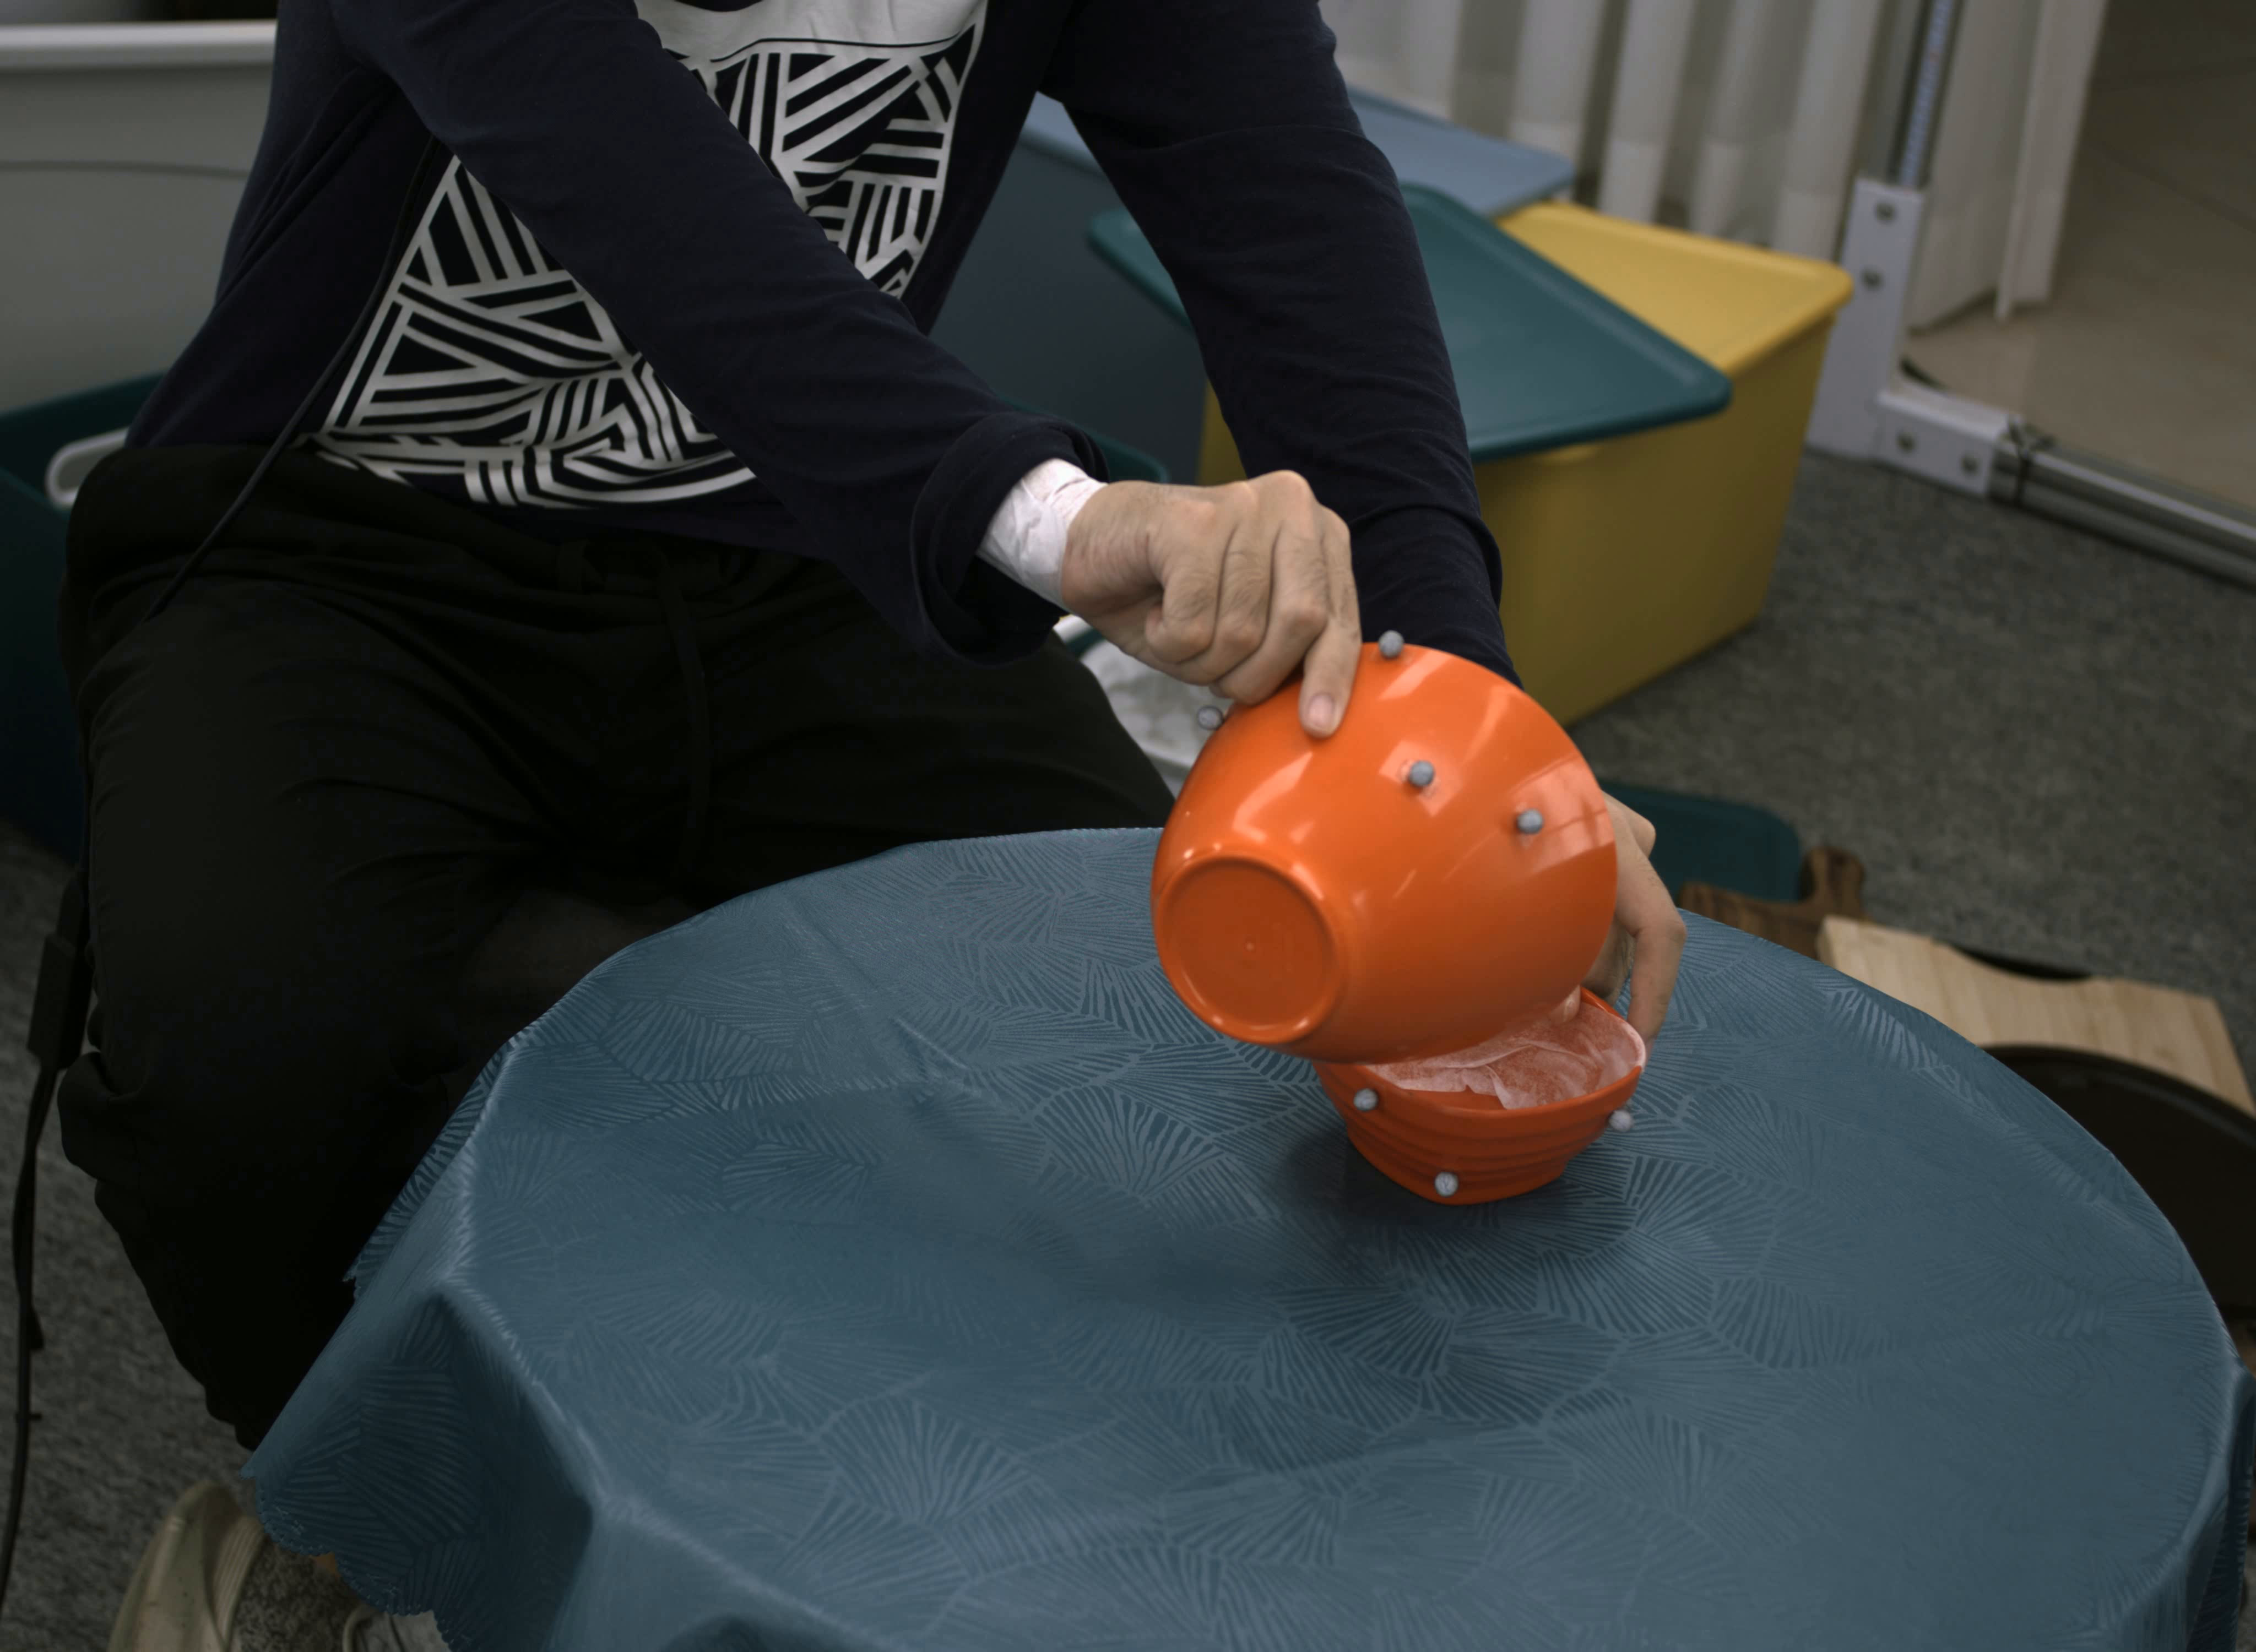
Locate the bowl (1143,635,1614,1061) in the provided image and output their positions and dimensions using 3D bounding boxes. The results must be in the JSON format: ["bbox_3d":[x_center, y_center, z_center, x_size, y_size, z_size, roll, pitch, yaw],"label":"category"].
[{"bbox_3d":[0.069,0.021,1.727,0.148,0.147,0.104,19,30,22],"label":"bowl"}]

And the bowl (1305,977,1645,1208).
[{"bbox_3d":[0.117,0.091,1.843,0.118,0.051,0.119,3,26,-2],"label":"bowl"}]
